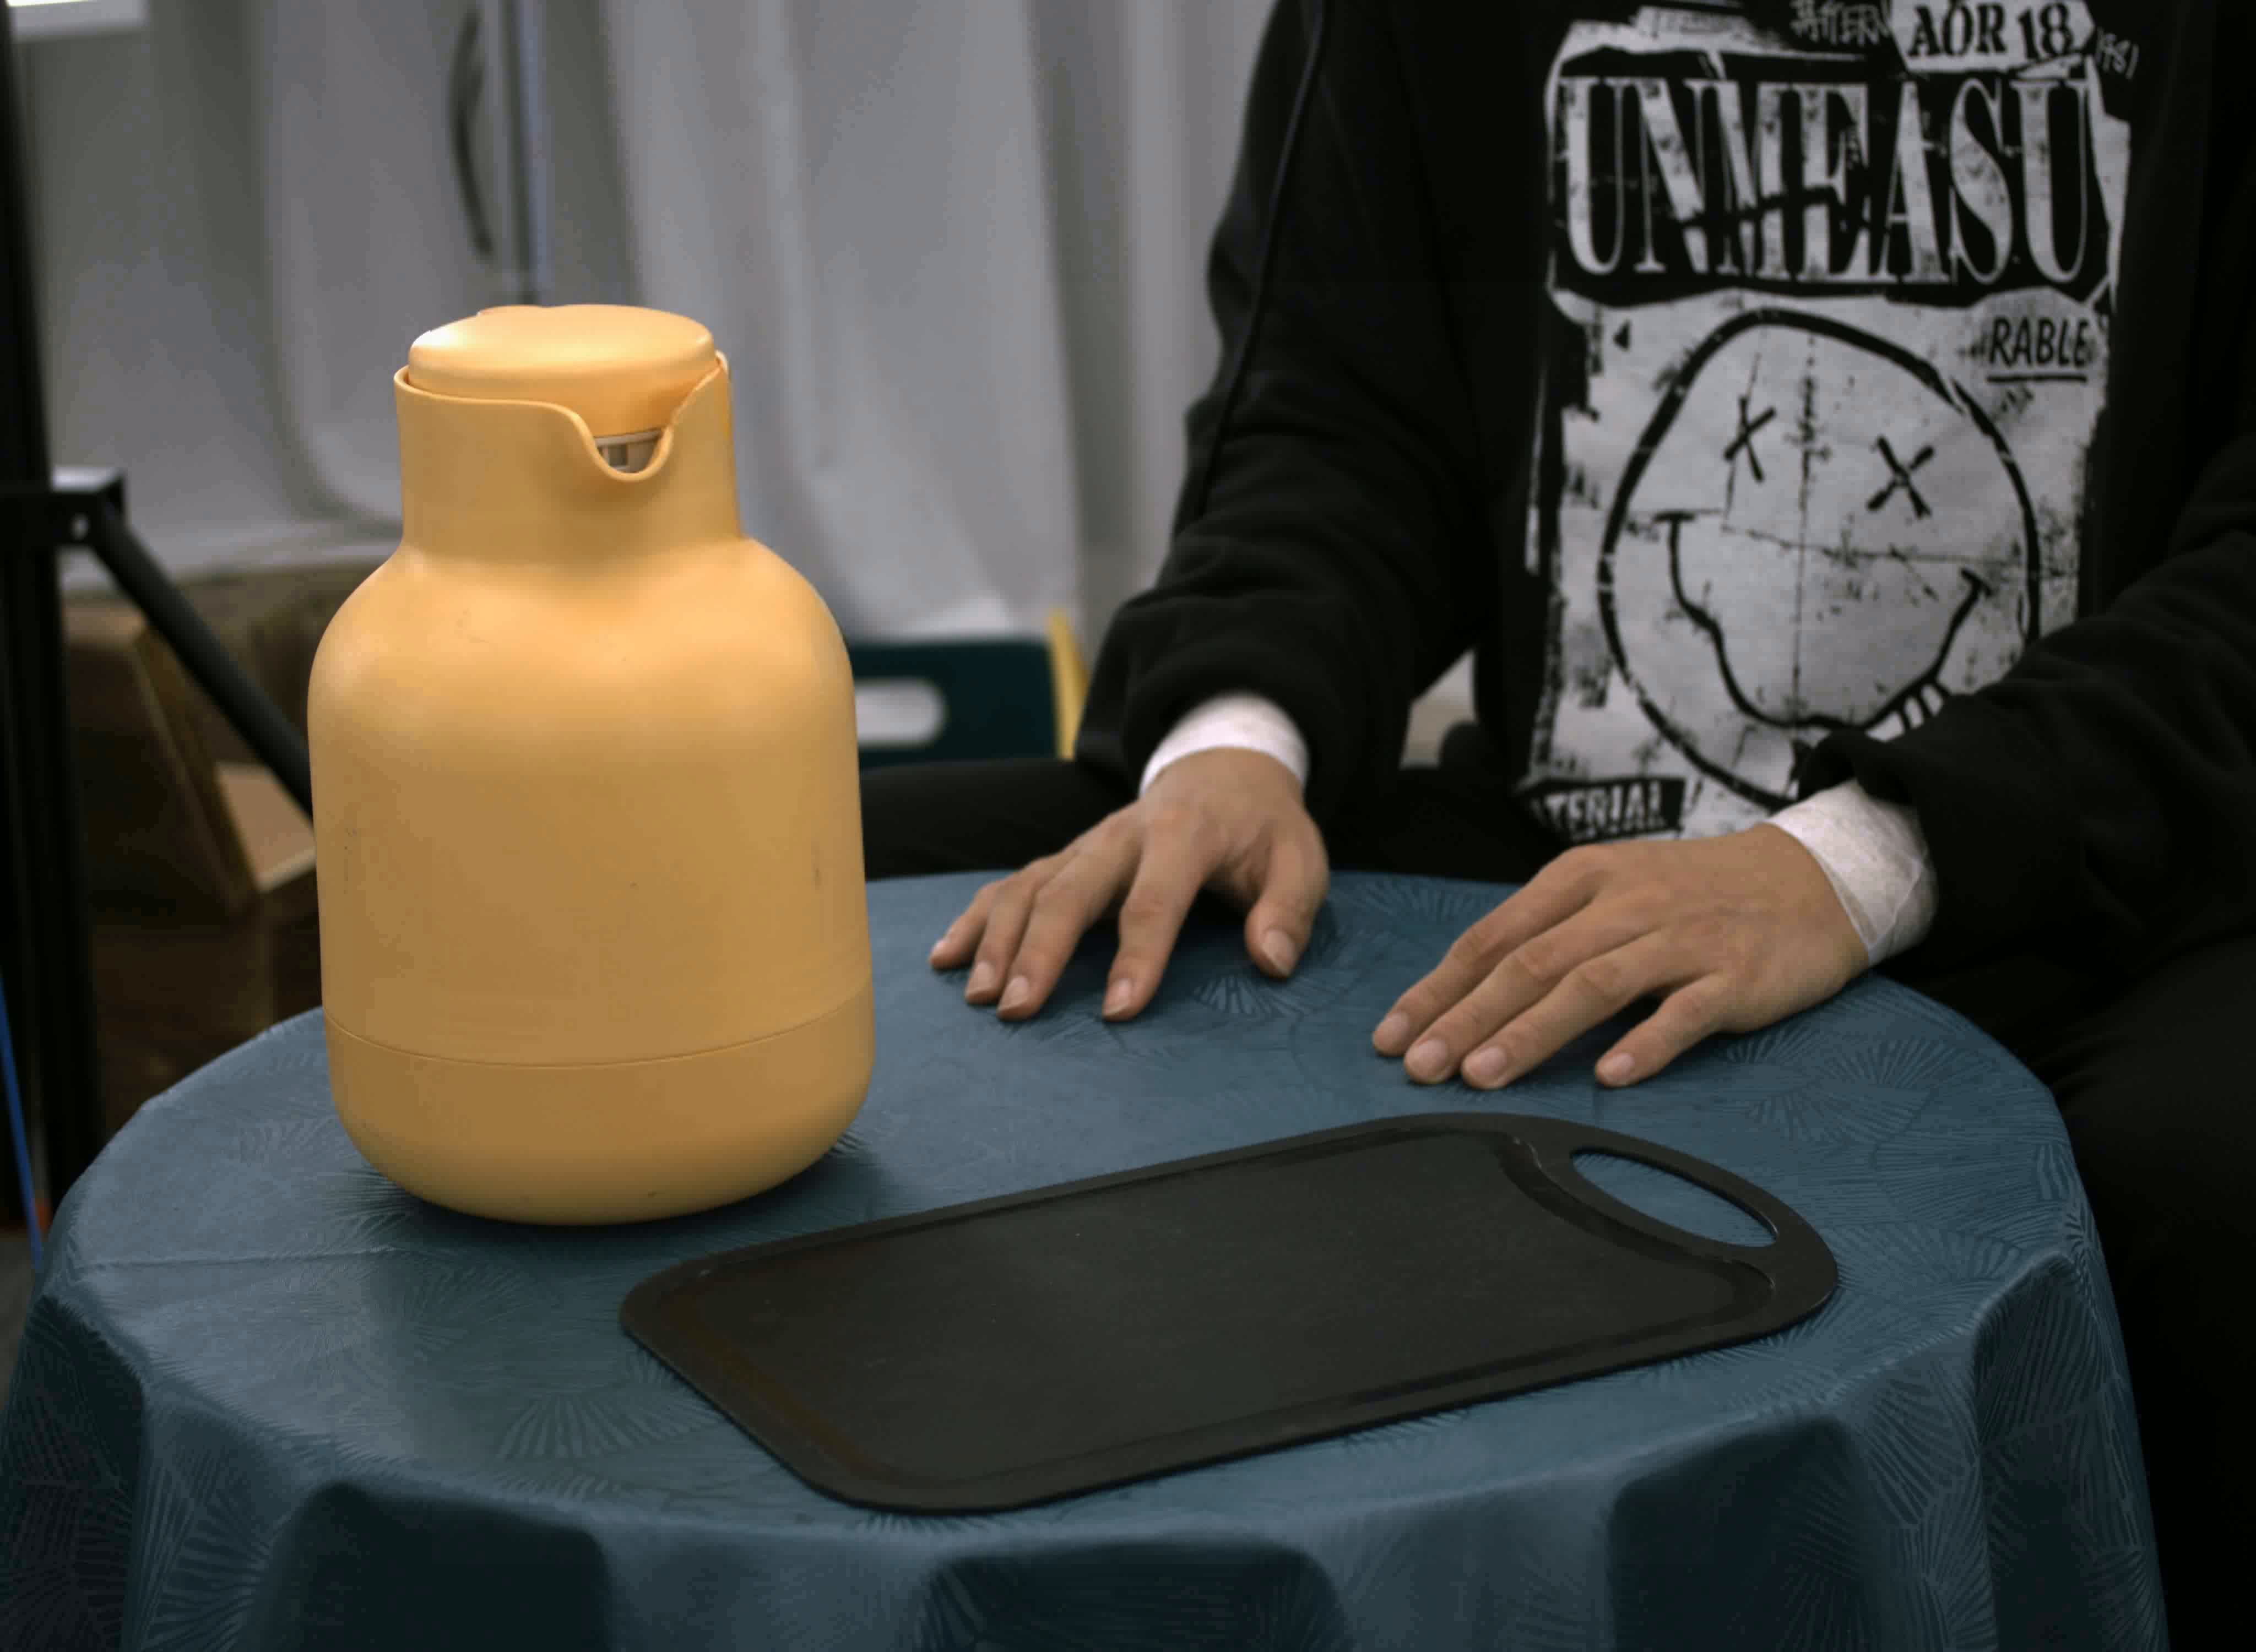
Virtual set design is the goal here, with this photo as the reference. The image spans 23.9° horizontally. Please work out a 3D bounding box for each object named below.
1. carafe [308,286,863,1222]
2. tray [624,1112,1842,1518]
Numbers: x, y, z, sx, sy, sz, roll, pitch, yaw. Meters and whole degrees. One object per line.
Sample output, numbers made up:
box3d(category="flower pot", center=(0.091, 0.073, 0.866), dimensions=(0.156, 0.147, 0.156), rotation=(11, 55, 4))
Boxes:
box3d(category="carafe", center=(-0.165, -0.029, 1.587), dimensions=(0.161, 0.260, 0.206), rotation=(-4, 17, -17))
box3d(category="tray", center=(0.035, 0.127, 1.468), dimensions=(0.319, 0.010, 0.215), rotation=(-9, 17, -23))
